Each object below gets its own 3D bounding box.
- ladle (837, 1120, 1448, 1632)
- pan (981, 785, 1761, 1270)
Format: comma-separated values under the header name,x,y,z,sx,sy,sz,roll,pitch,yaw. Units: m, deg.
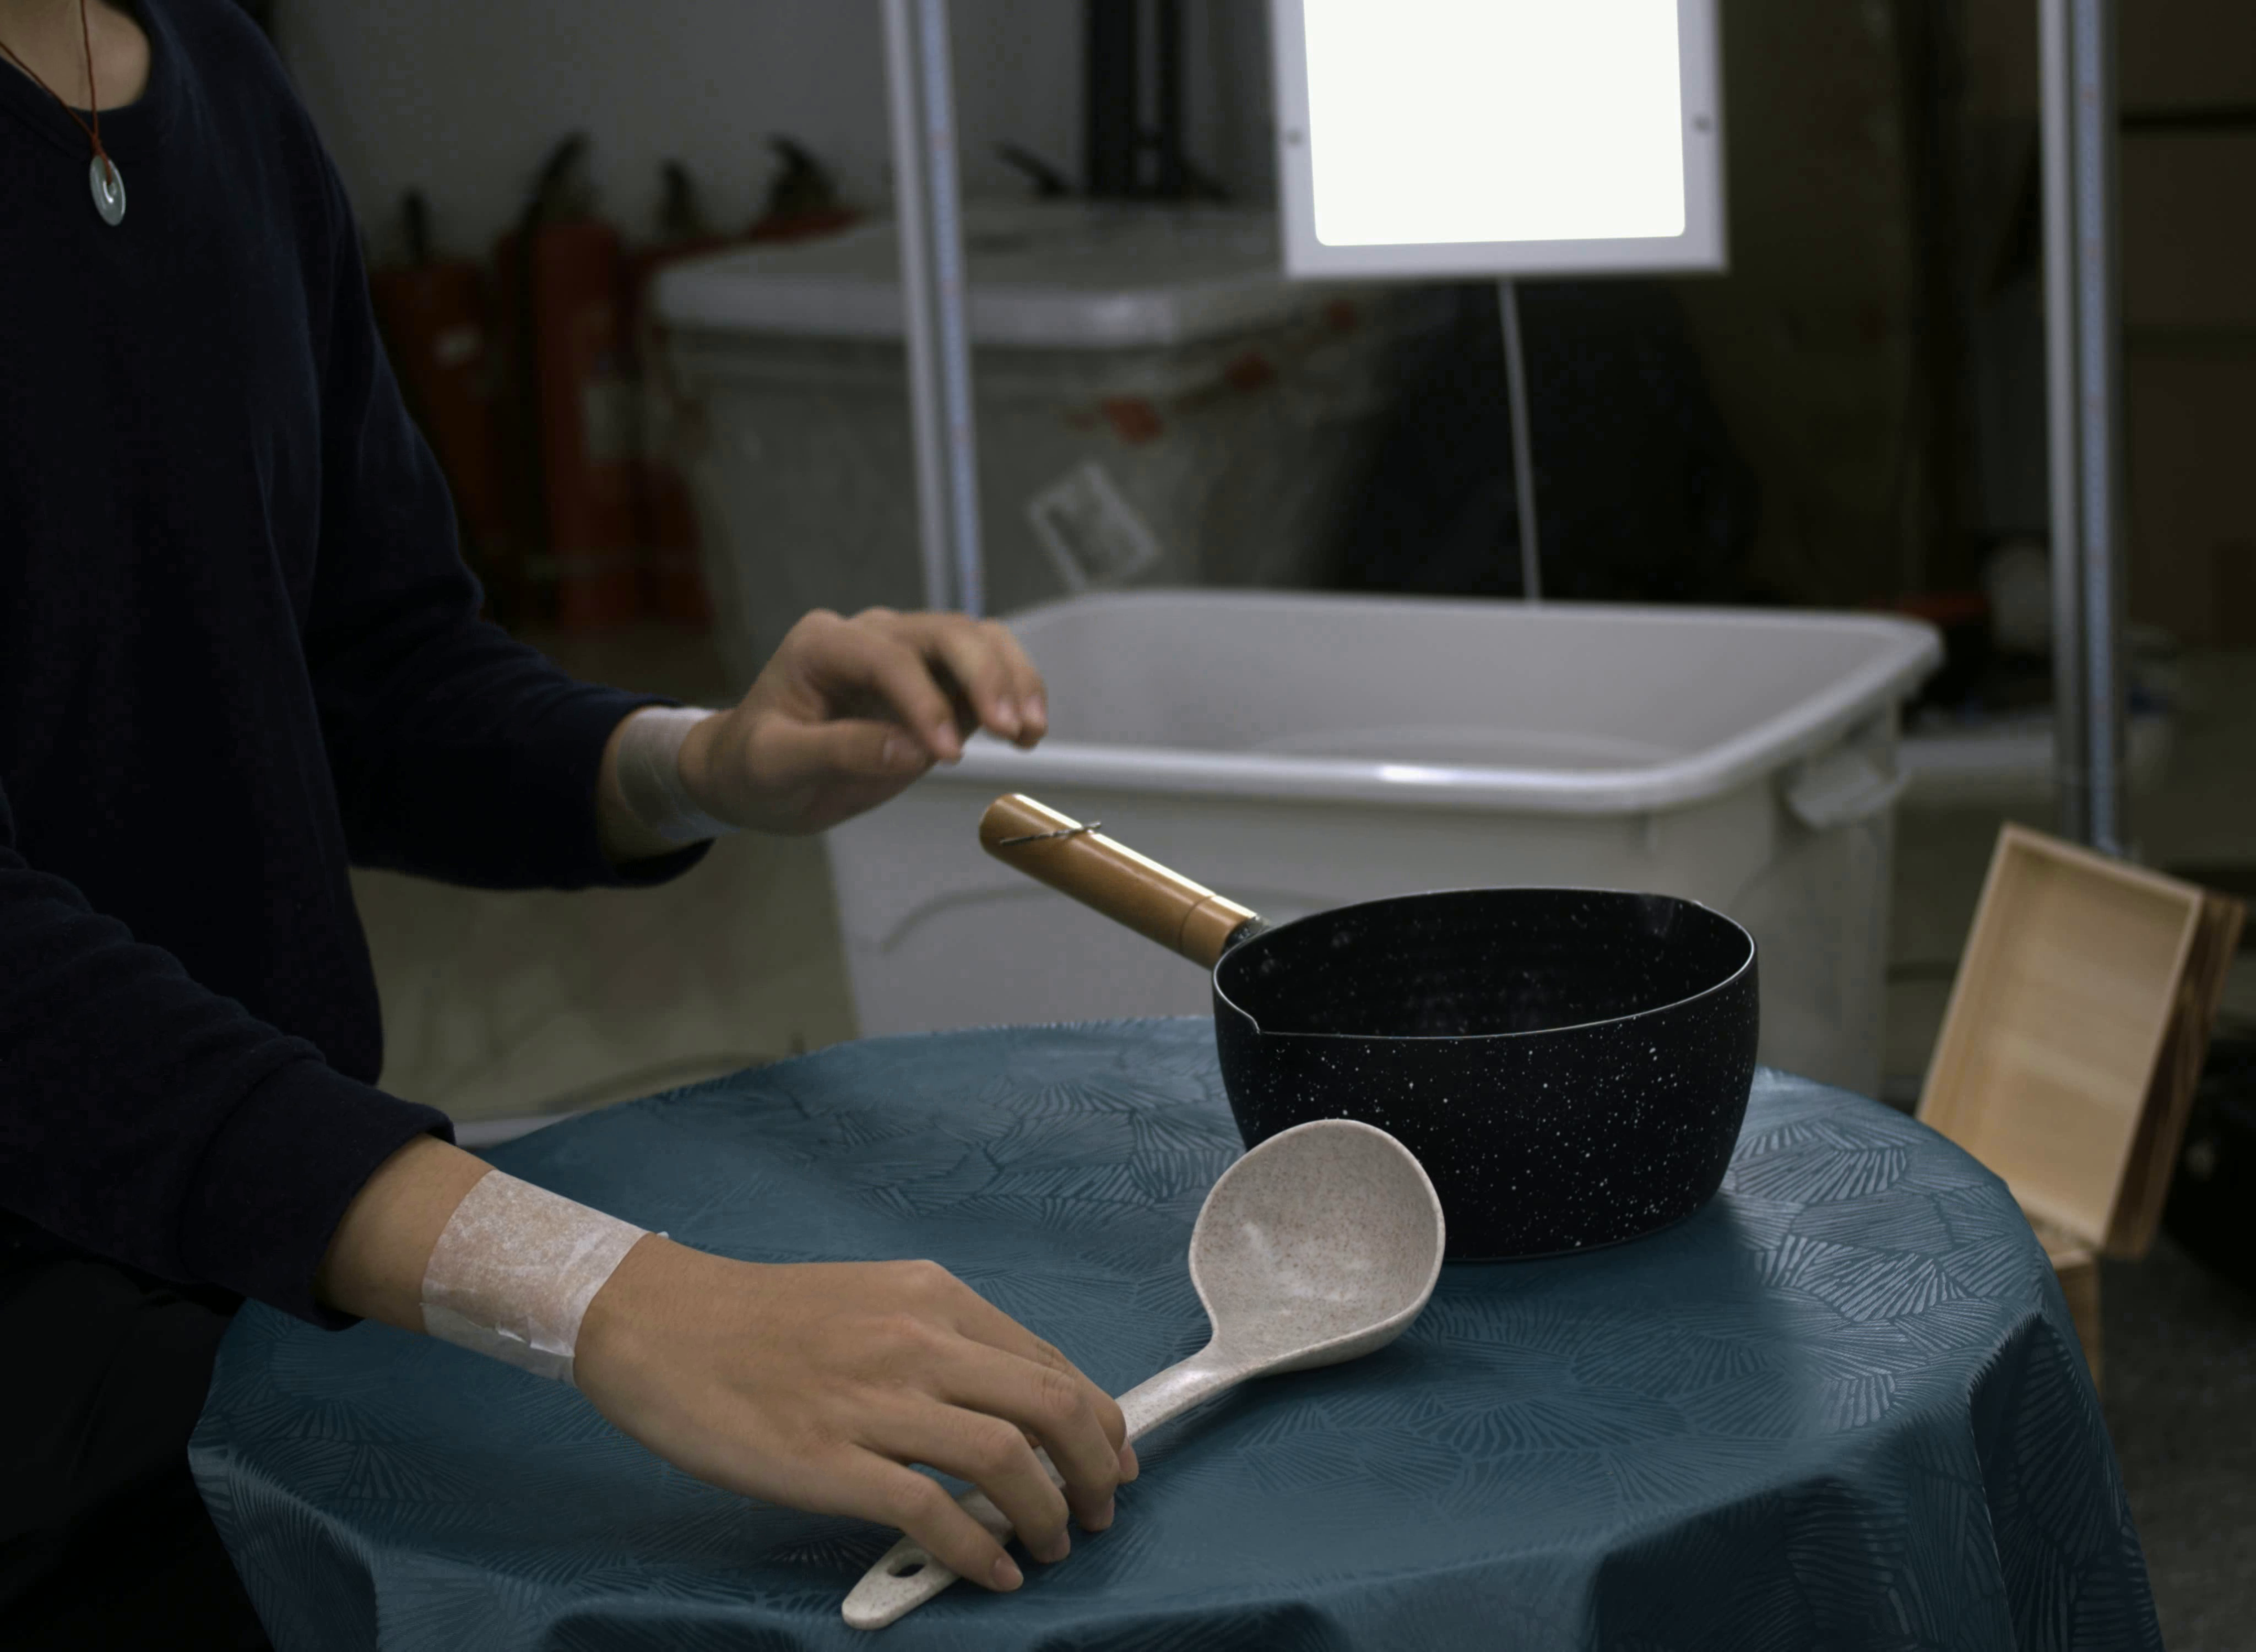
name,x,y,z,sx,sy,sz,roll,pitch,yaw
ladle,0.000,0.158,1.630,0.091,0.070,0.268,15,23,32
pan,0.067,0.063,1.905,0.202,0.108,0.350,-18,20,-39
